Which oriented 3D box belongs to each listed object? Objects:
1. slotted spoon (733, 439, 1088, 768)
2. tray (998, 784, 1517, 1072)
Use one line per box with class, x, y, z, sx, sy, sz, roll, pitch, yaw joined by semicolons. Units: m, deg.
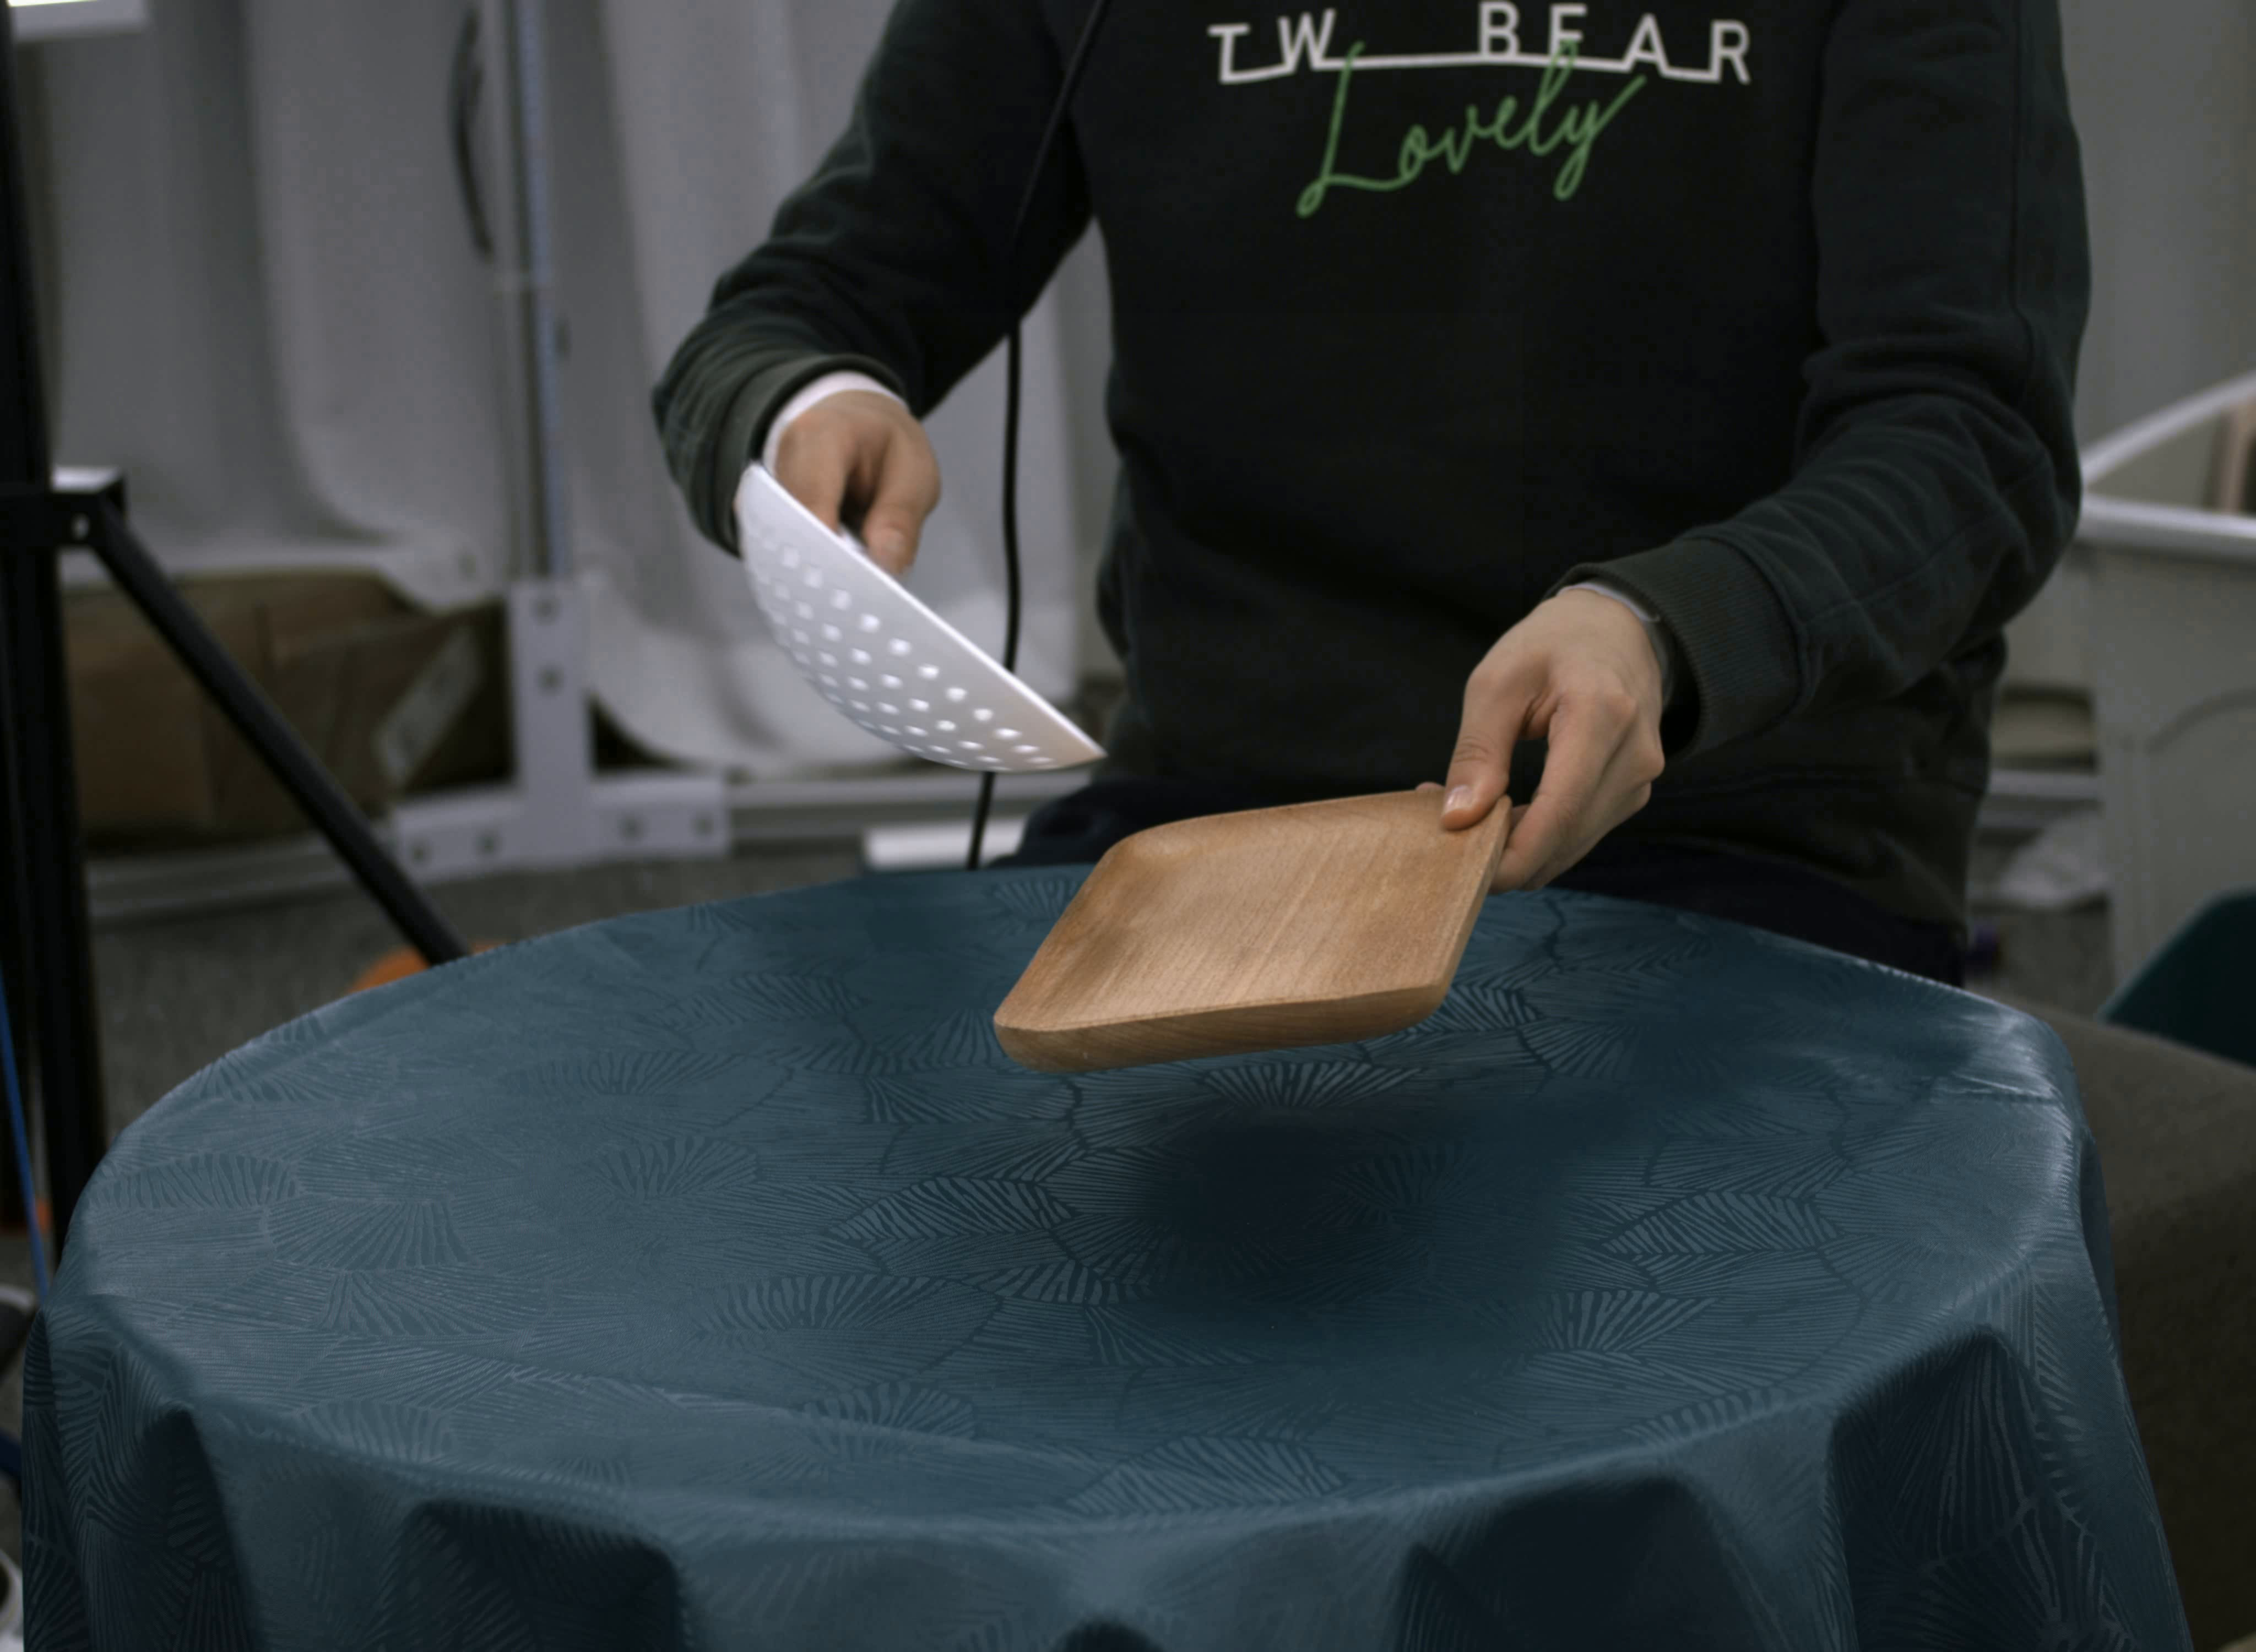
slotted spoon;-0.079;-0.074;1.668;0.135;0.046;0.351;41;5;-9
tray;0.042;0.028;1.537;0.131;0.023;0.249;-5;11;11
